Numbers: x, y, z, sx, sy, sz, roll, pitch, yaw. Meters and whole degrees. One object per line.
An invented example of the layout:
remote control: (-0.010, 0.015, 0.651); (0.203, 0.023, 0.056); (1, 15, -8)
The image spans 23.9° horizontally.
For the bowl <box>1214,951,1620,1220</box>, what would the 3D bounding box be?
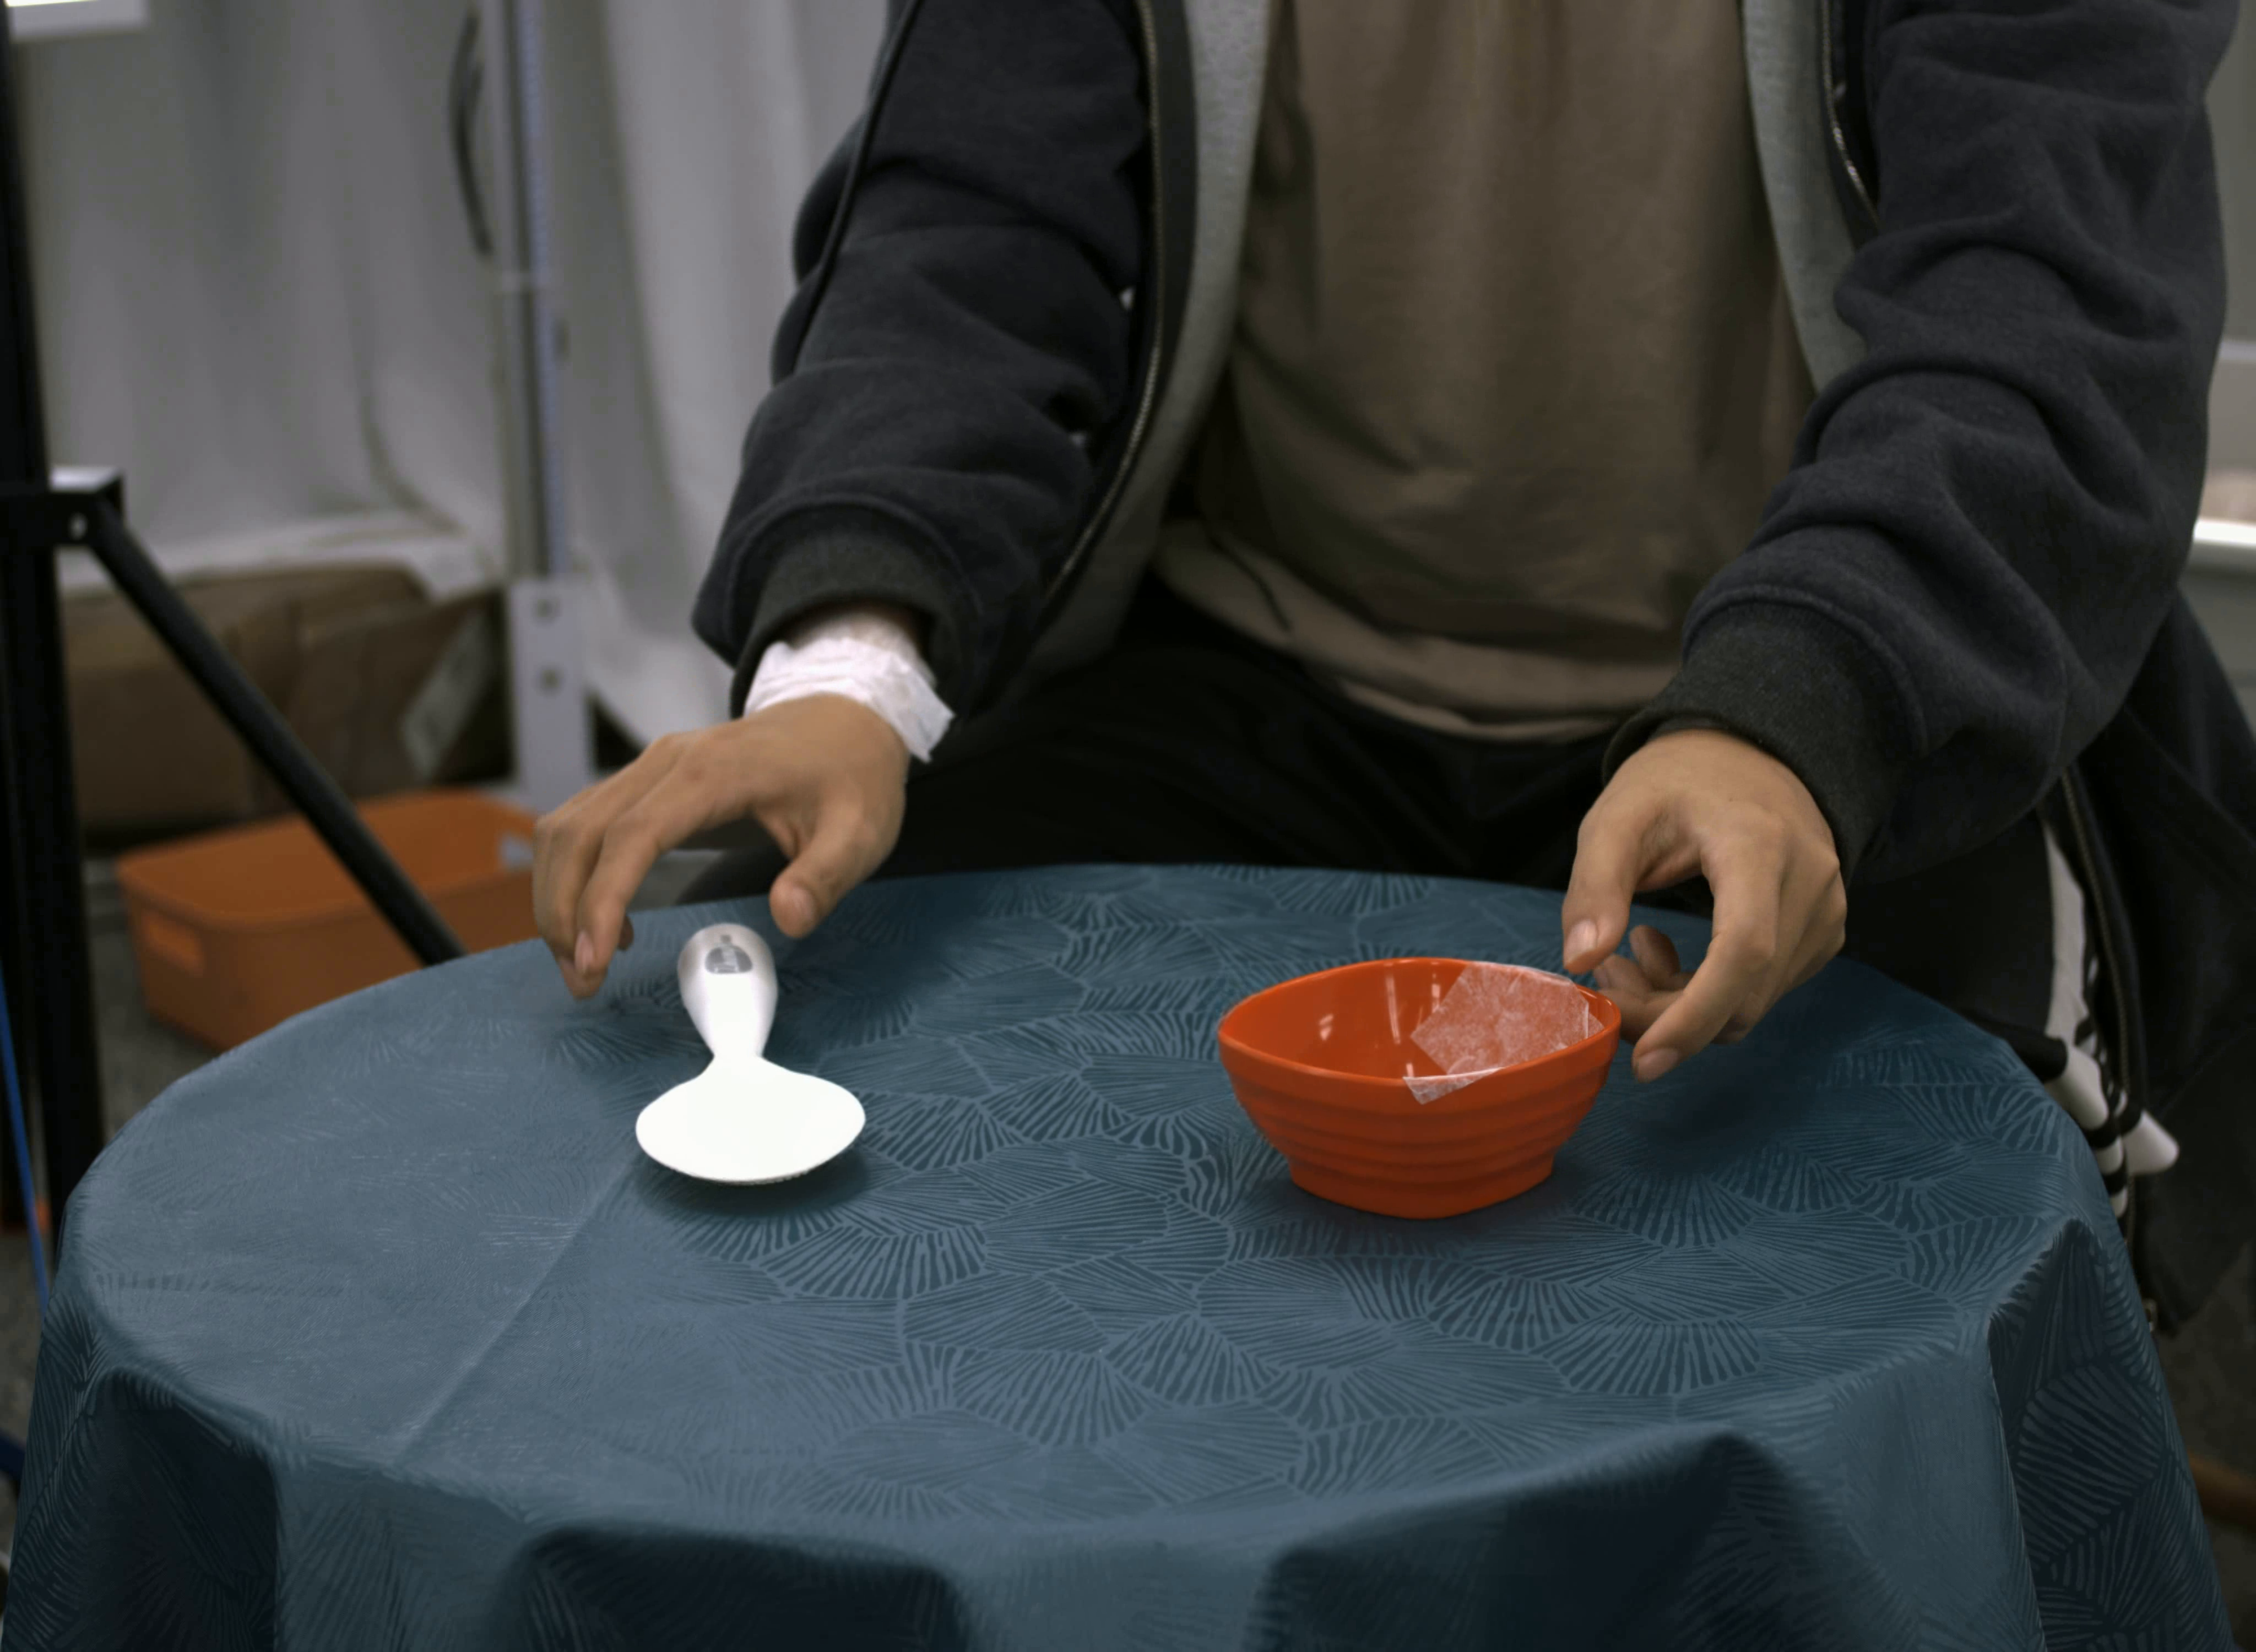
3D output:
bowl: (0.085, 0.078, 1.553); (0.118, 0.051, 0.119); (-3, 16, 0)

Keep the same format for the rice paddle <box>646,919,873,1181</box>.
rice paddle: (-0.118, 0.072, 1.652); (0.068, 0.029, 0.207); (-6, 16, -6)
